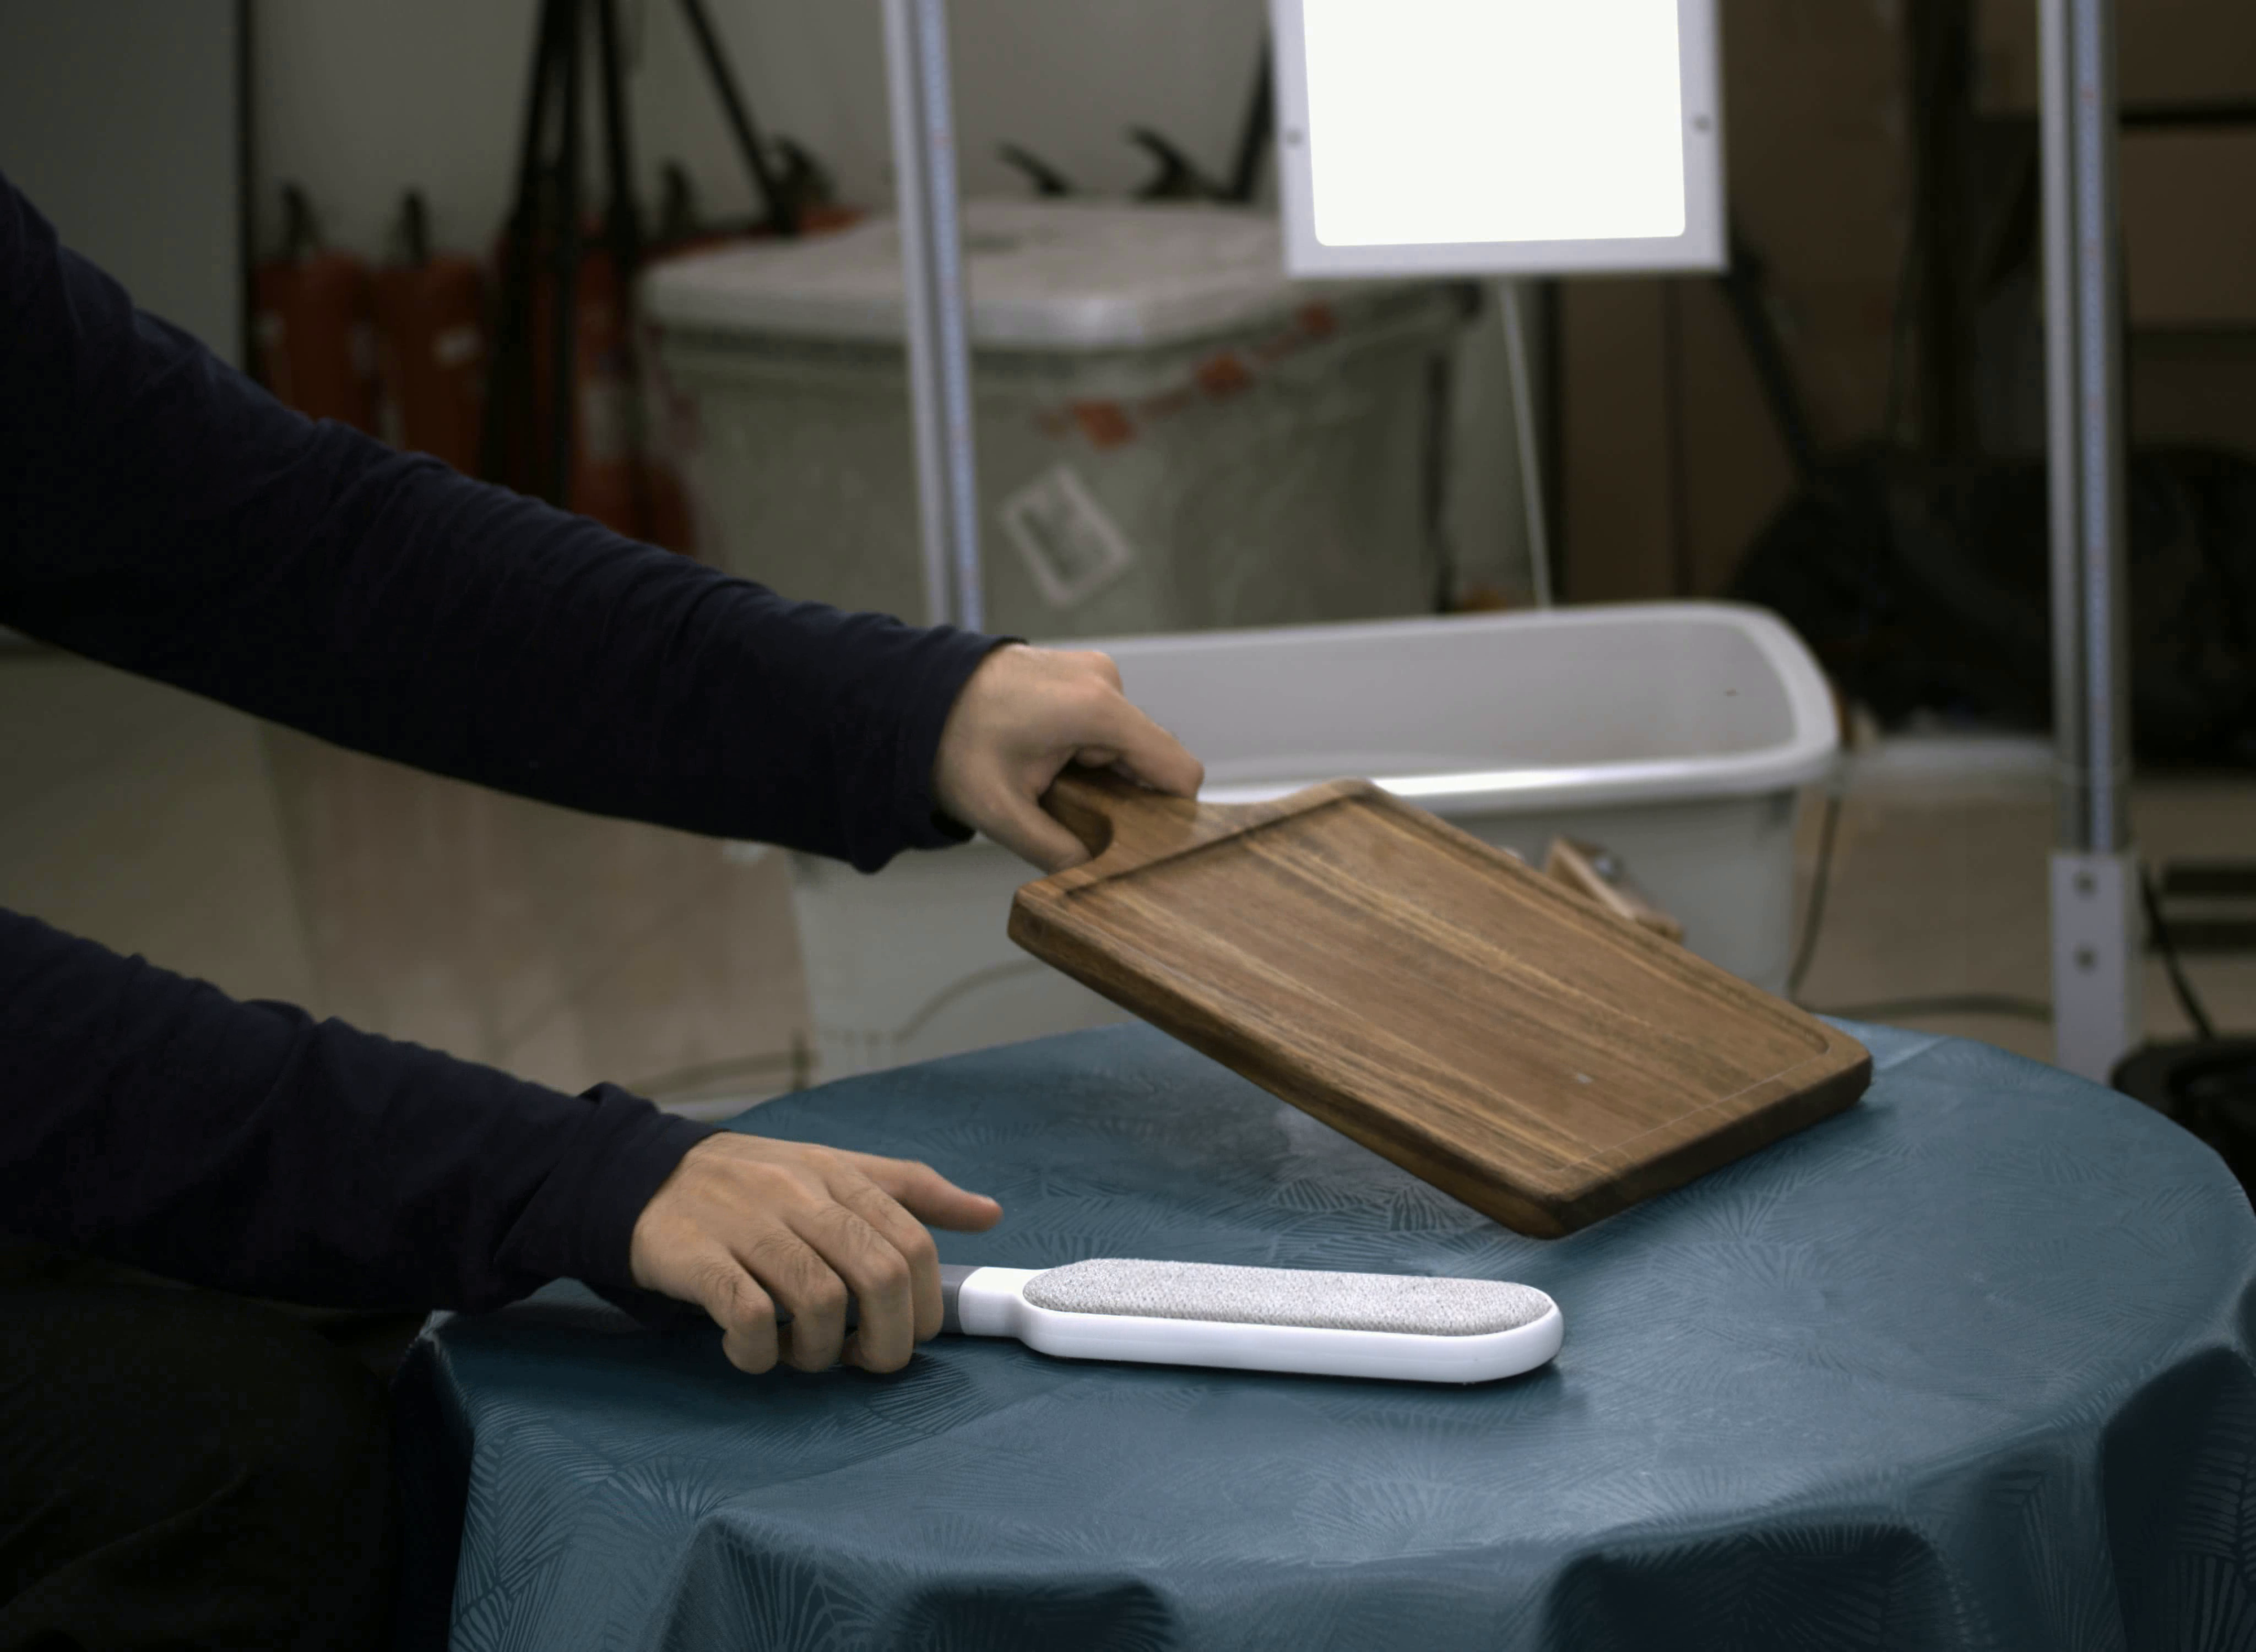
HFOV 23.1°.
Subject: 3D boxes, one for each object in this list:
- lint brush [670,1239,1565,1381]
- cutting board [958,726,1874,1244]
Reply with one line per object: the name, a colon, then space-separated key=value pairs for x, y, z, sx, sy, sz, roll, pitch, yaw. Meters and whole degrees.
lint brush: x=-0.009 y=0.150 z=1.753 sx=0.314 sy=0.021 sz=0.059 roll=2 pitch=21 yaw=26
cutting board: x=0.074 y=0.040 z=1.963 sx=0.358 sy=0.023 sz=0.196 roll=28 pitch=31 yaw=34
